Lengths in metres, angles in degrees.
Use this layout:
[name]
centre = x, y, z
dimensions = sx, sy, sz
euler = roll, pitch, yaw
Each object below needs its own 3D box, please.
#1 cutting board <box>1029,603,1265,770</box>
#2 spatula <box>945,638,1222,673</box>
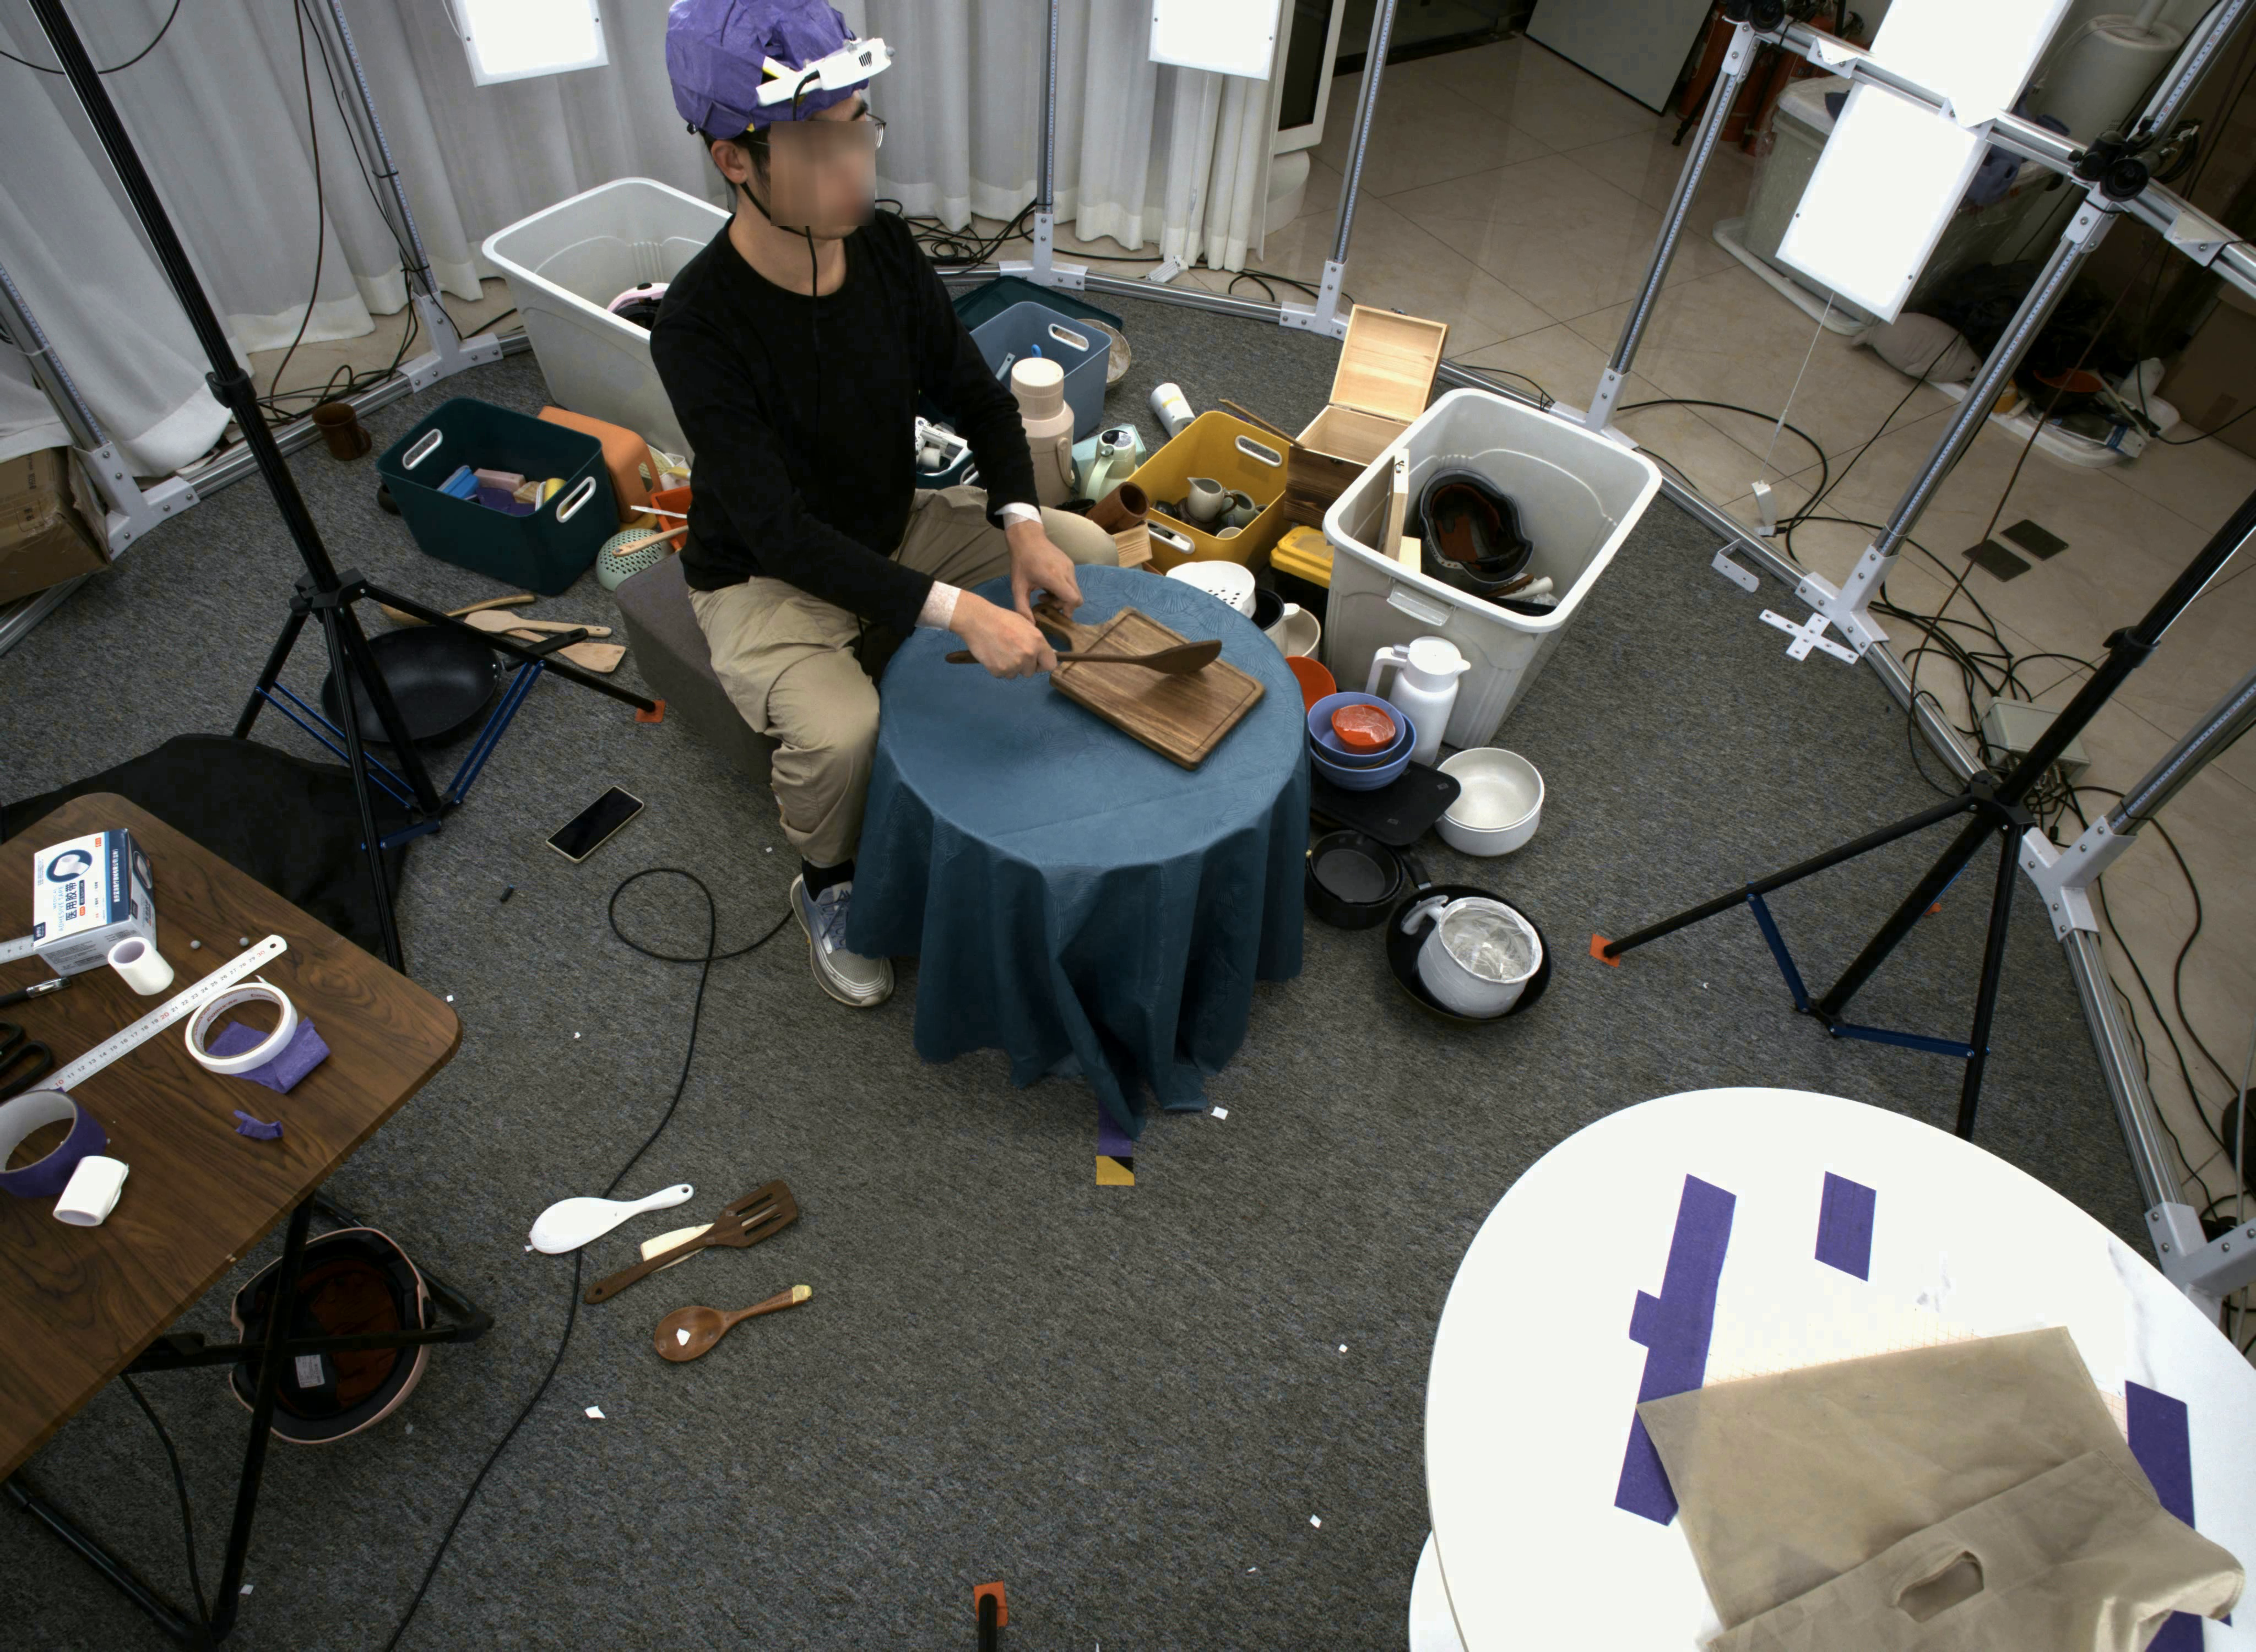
[cutting board]
centre = 0.003, -0.228, 1.839
dimensions = 0.355, 0.022, 0.204
euler = 32, 54, 17
[spatula]
centre = -0.056, -0.232, 1.749
dimensions = 0.385, 0.095, 0.016
euler = -2, 71, -17
